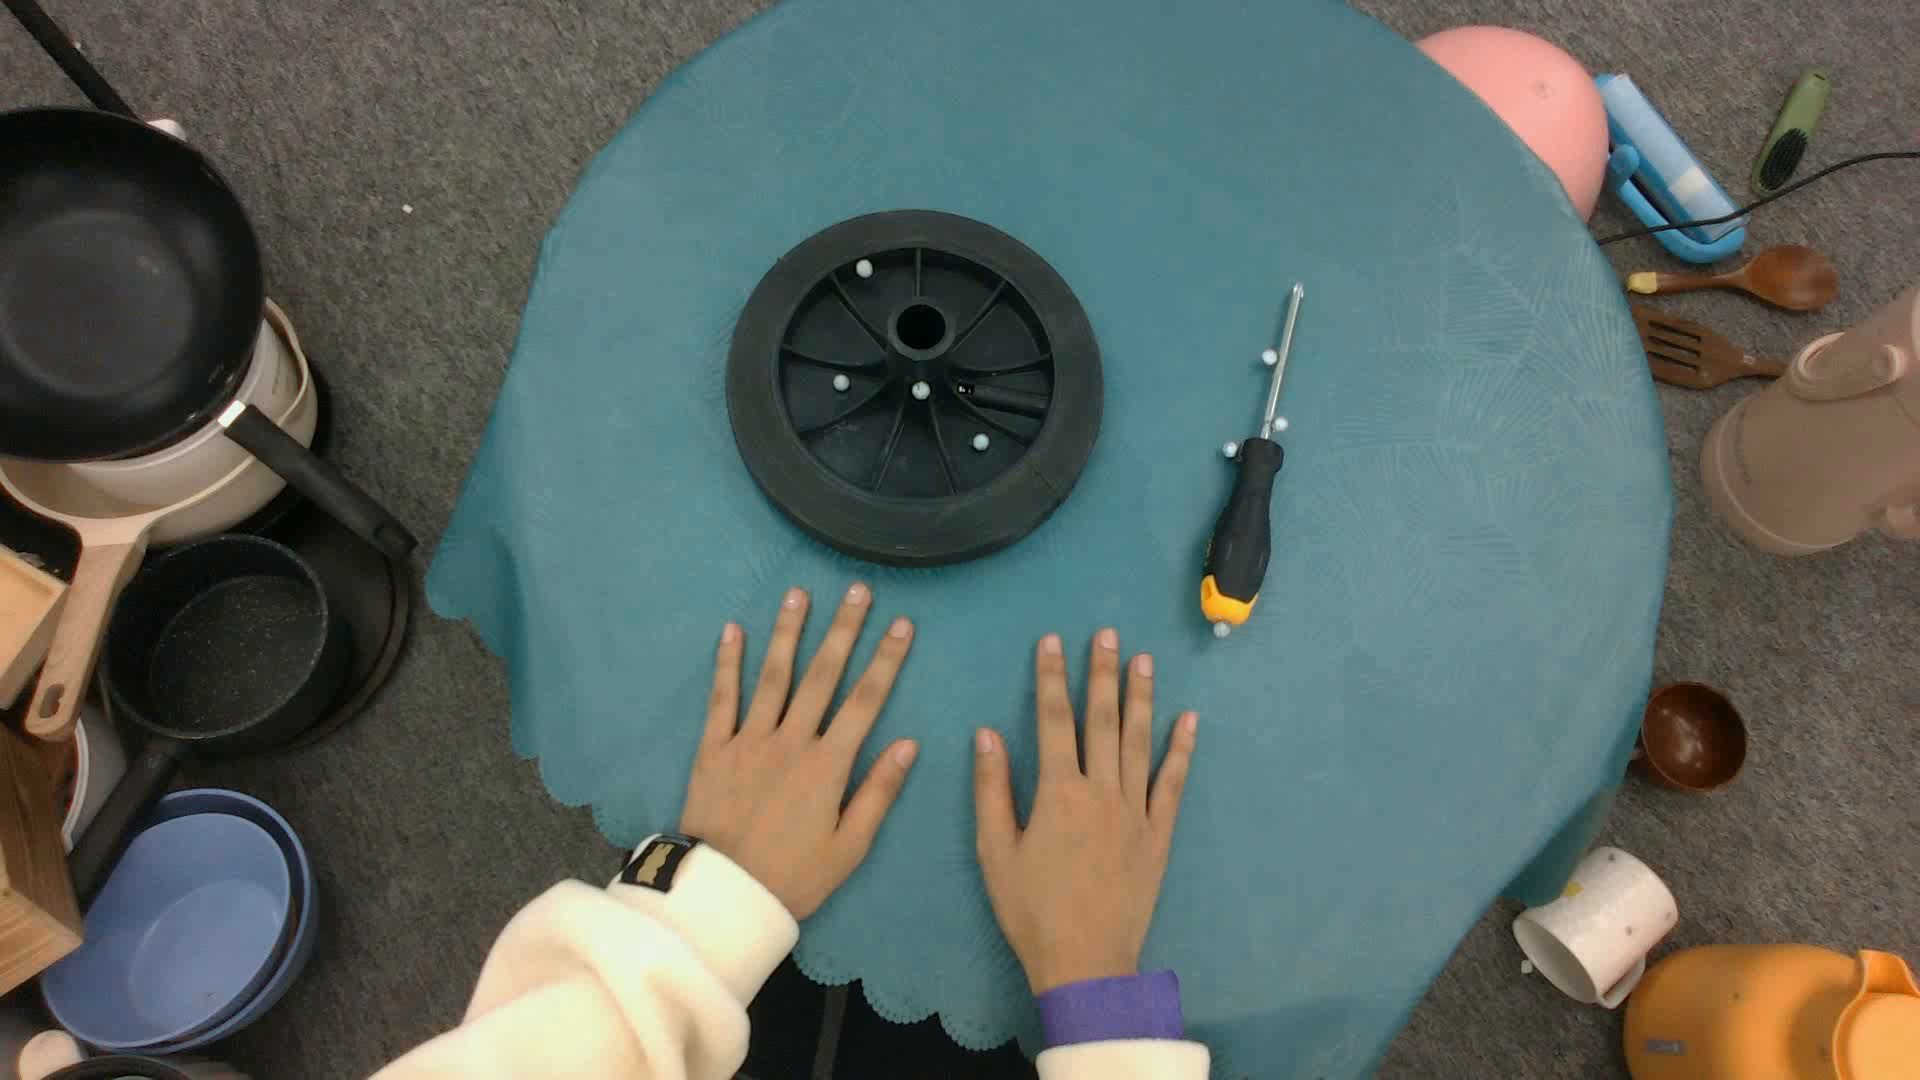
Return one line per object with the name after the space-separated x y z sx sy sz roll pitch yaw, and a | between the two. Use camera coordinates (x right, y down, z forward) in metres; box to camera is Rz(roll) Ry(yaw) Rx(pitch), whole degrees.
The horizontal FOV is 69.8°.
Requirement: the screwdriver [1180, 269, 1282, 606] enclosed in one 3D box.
0.140 -0.059 0.698 0.031 0.031 0.197 14 70 0 | screwdriver

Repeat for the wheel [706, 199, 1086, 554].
-0.028 -0.091 0.668 0.190 0.079 0.188 -11 74 -12 | wheel
